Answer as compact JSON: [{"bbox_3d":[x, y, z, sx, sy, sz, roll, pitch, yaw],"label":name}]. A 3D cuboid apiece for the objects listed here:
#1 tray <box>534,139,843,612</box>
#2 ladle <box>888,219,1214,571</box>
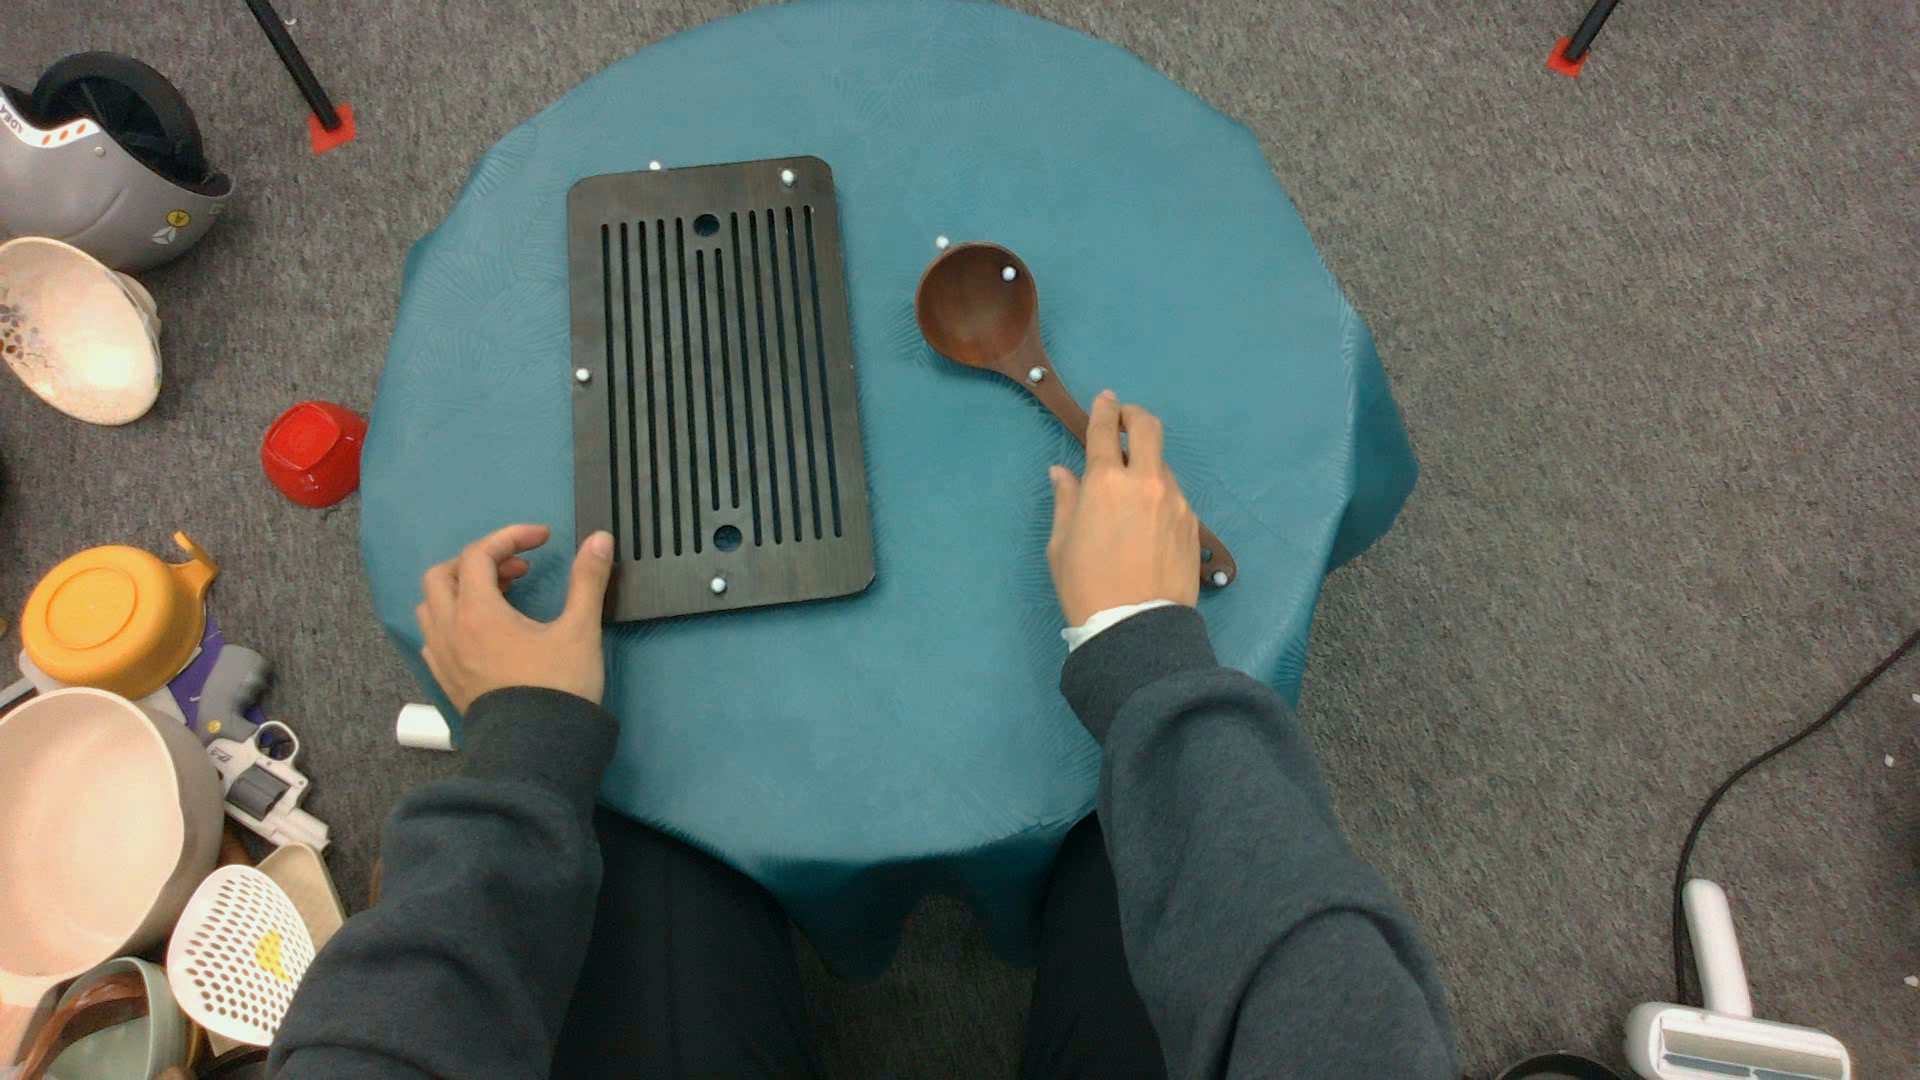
[{"bbox_3d":[-0.168,-0.108,0.833,0.170,0.018,0.307,-7,69,-4],"label":"tray"},{"bbox_3d":[0.054,-0.083,0.803,0.076,0.065,0.260,-43,74,11],"label":"ladle"}]
